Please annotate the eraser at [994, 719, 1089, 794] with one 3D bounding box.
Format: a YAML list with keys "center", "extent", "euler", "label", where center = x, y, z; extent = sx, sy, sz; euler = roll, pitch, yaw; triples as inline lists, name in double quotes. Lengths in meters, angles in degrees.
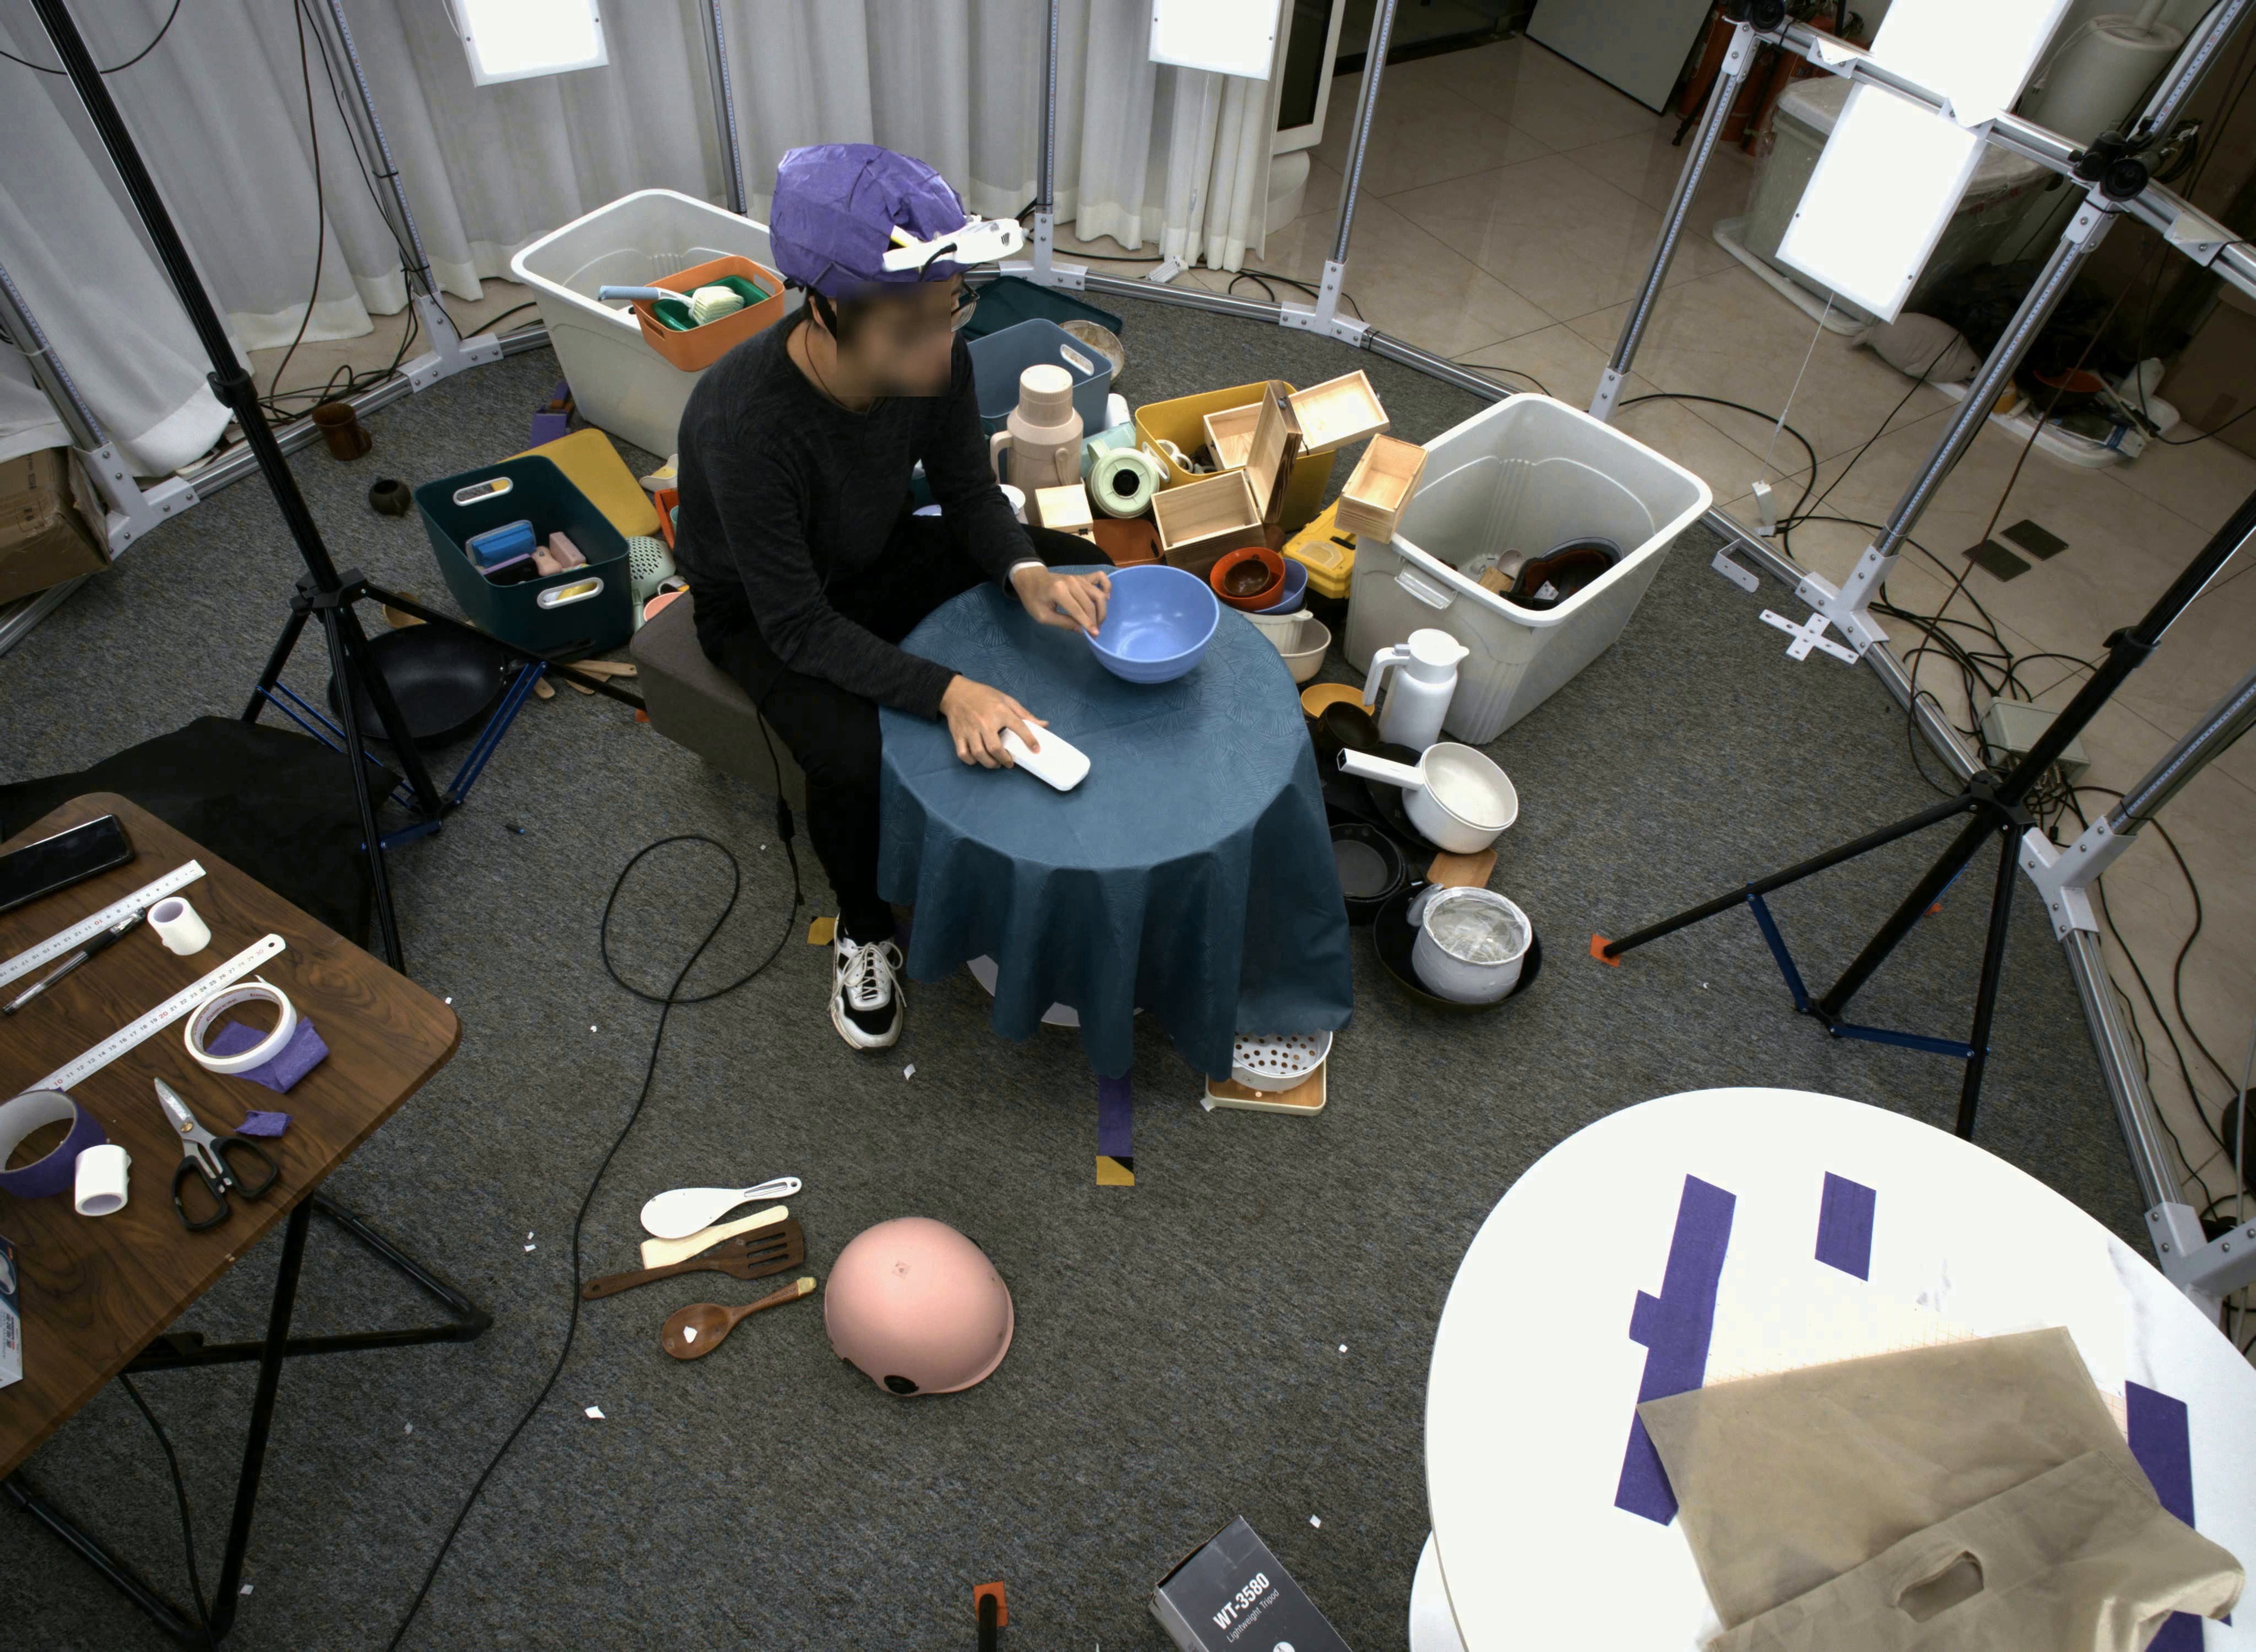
- center: [-0.116, -0.096, 1.726]
  extent: [0.133, 0.034, 0.064]
  euler: [33, 54, 21]
  label: "eraser"

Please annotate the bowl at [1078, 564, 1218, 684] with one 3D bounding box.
- center: [0.030, -0.273, 1.842]
  extent: [0.196, 0.093, 0.201]
  euler: [-2, 52, 2]
  label: "bowl"
